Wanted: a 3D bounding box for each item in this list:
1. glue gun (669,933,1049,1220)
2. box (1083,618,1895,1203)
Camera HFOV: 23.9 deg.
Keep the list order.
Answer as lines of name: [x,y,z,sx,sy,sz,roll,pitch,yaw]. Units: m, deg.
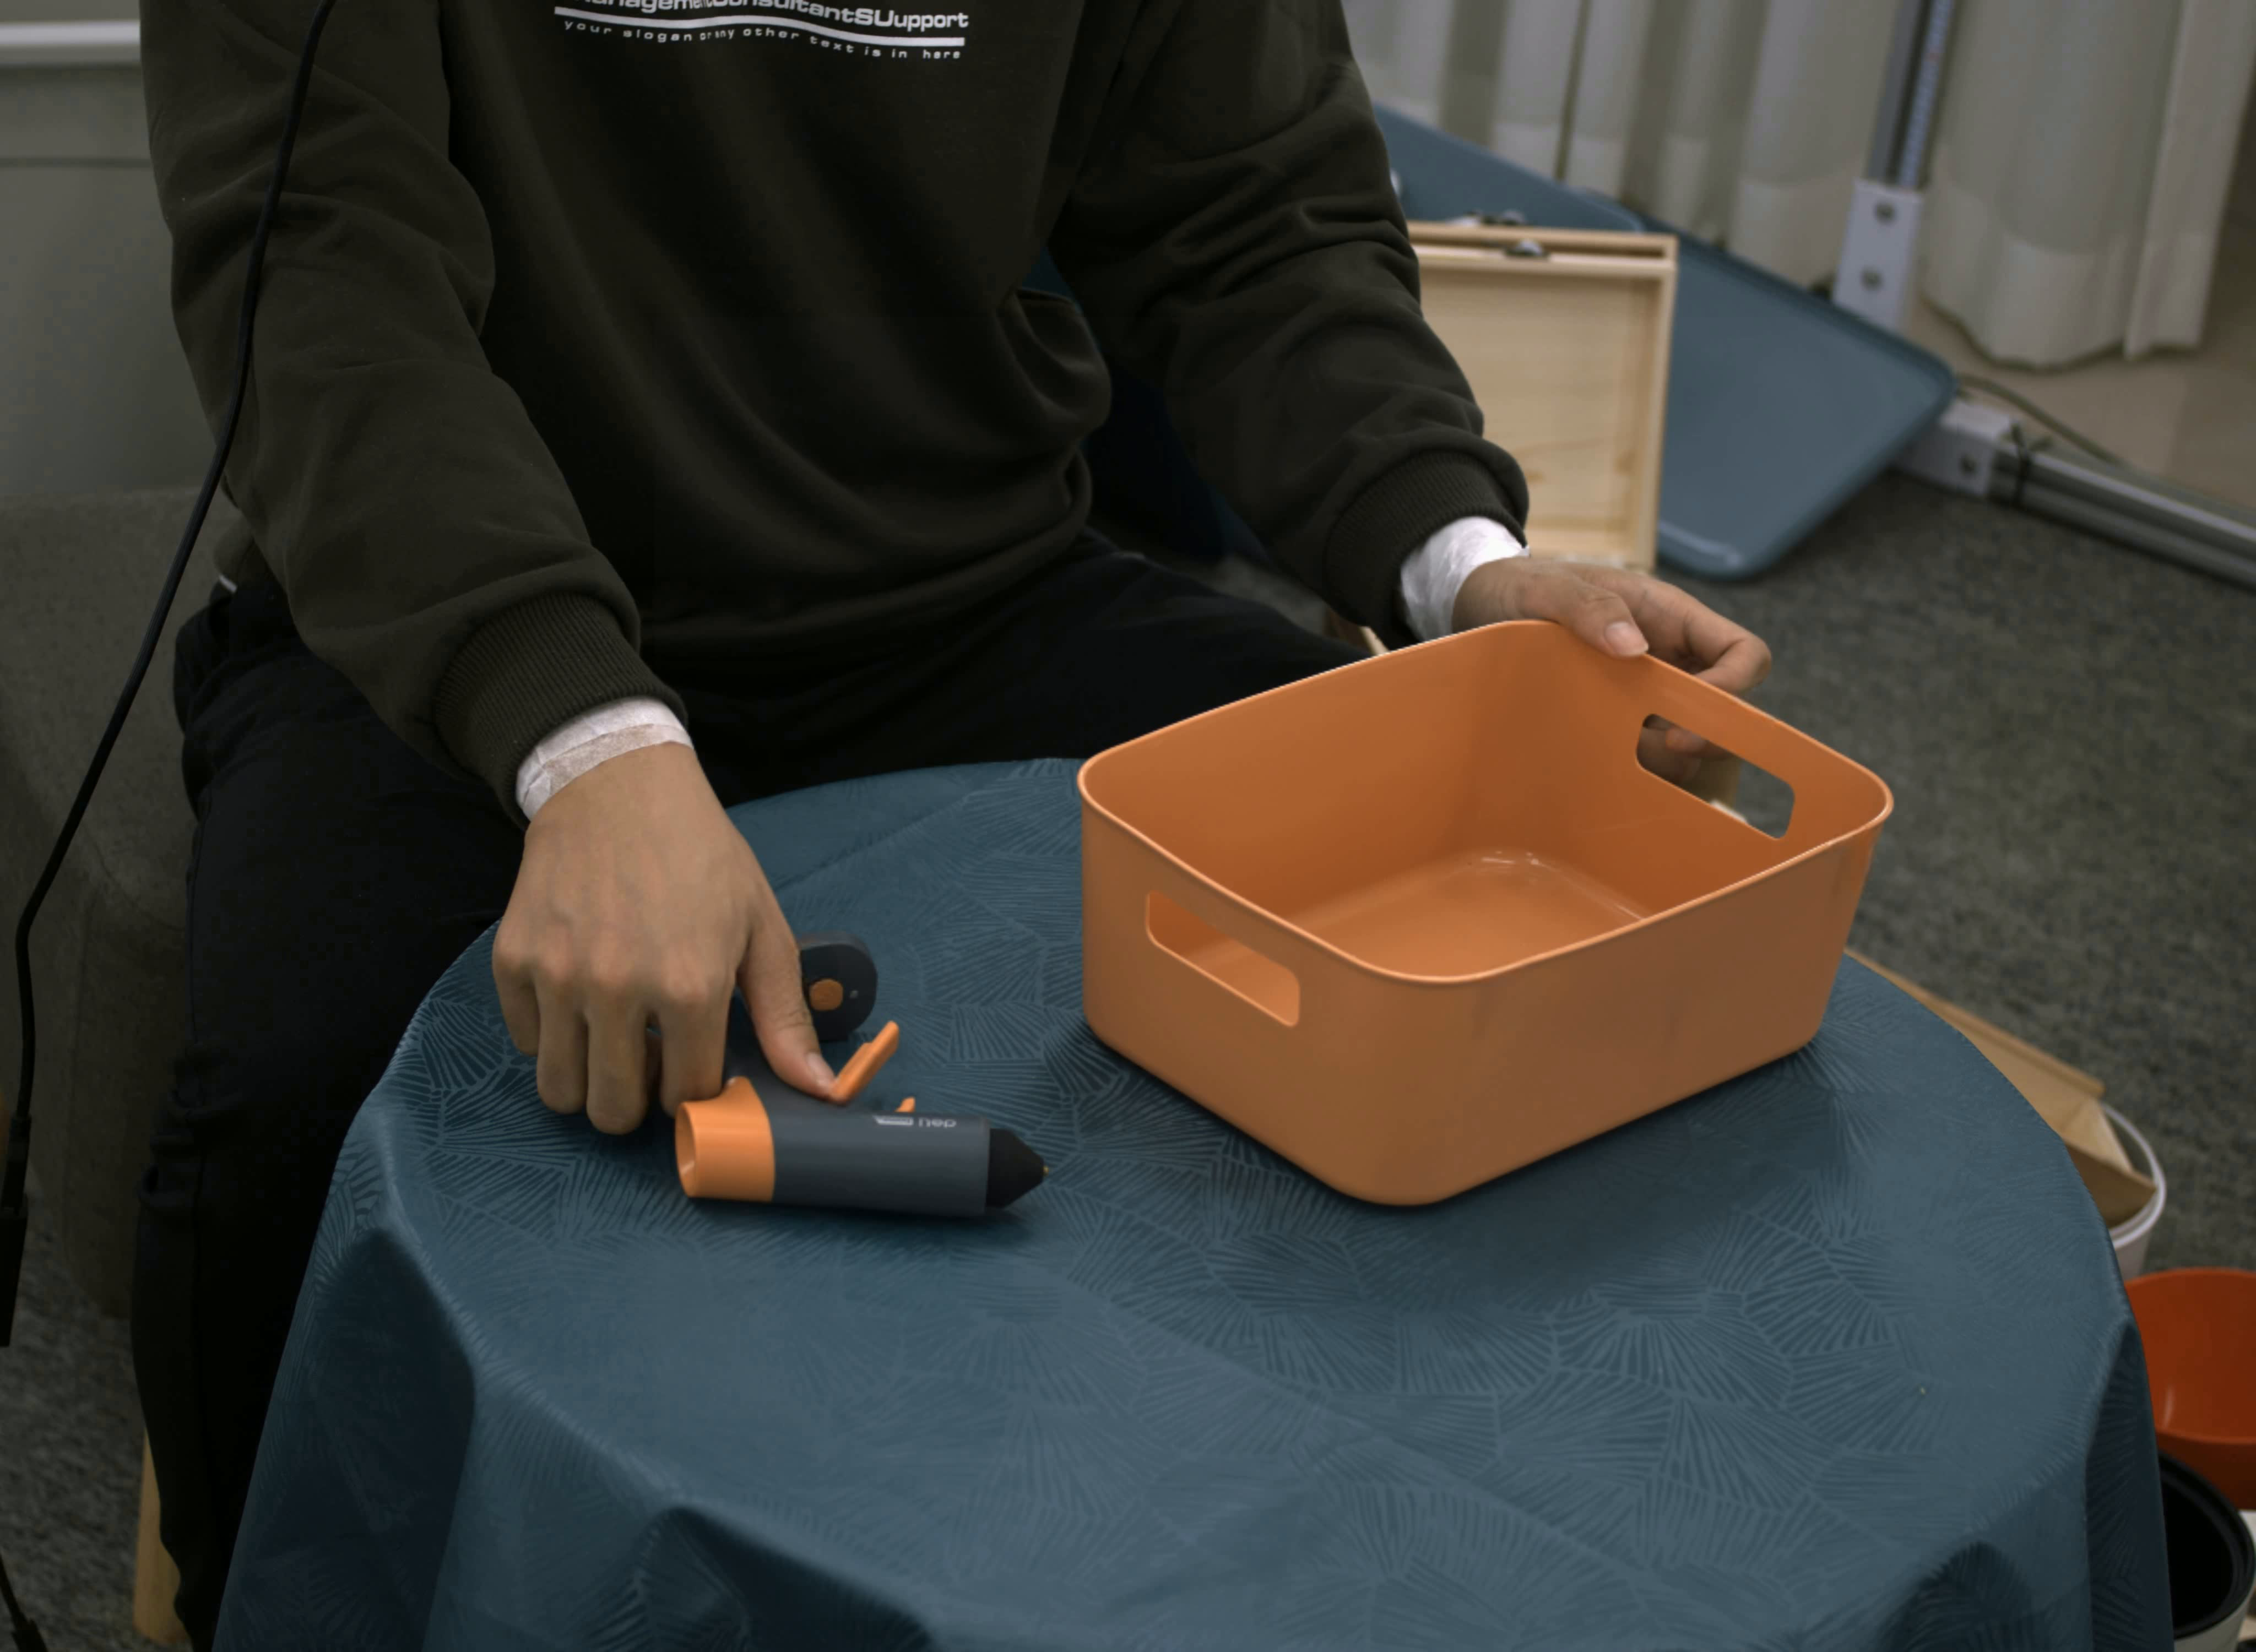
glue gun: [-0.099,0.091,1.818,0.117,0.041,0.141,-4,31,-18]
box: [0.124,0.029,1.911,0.272,0.102,0.201,-19,36,-40]
